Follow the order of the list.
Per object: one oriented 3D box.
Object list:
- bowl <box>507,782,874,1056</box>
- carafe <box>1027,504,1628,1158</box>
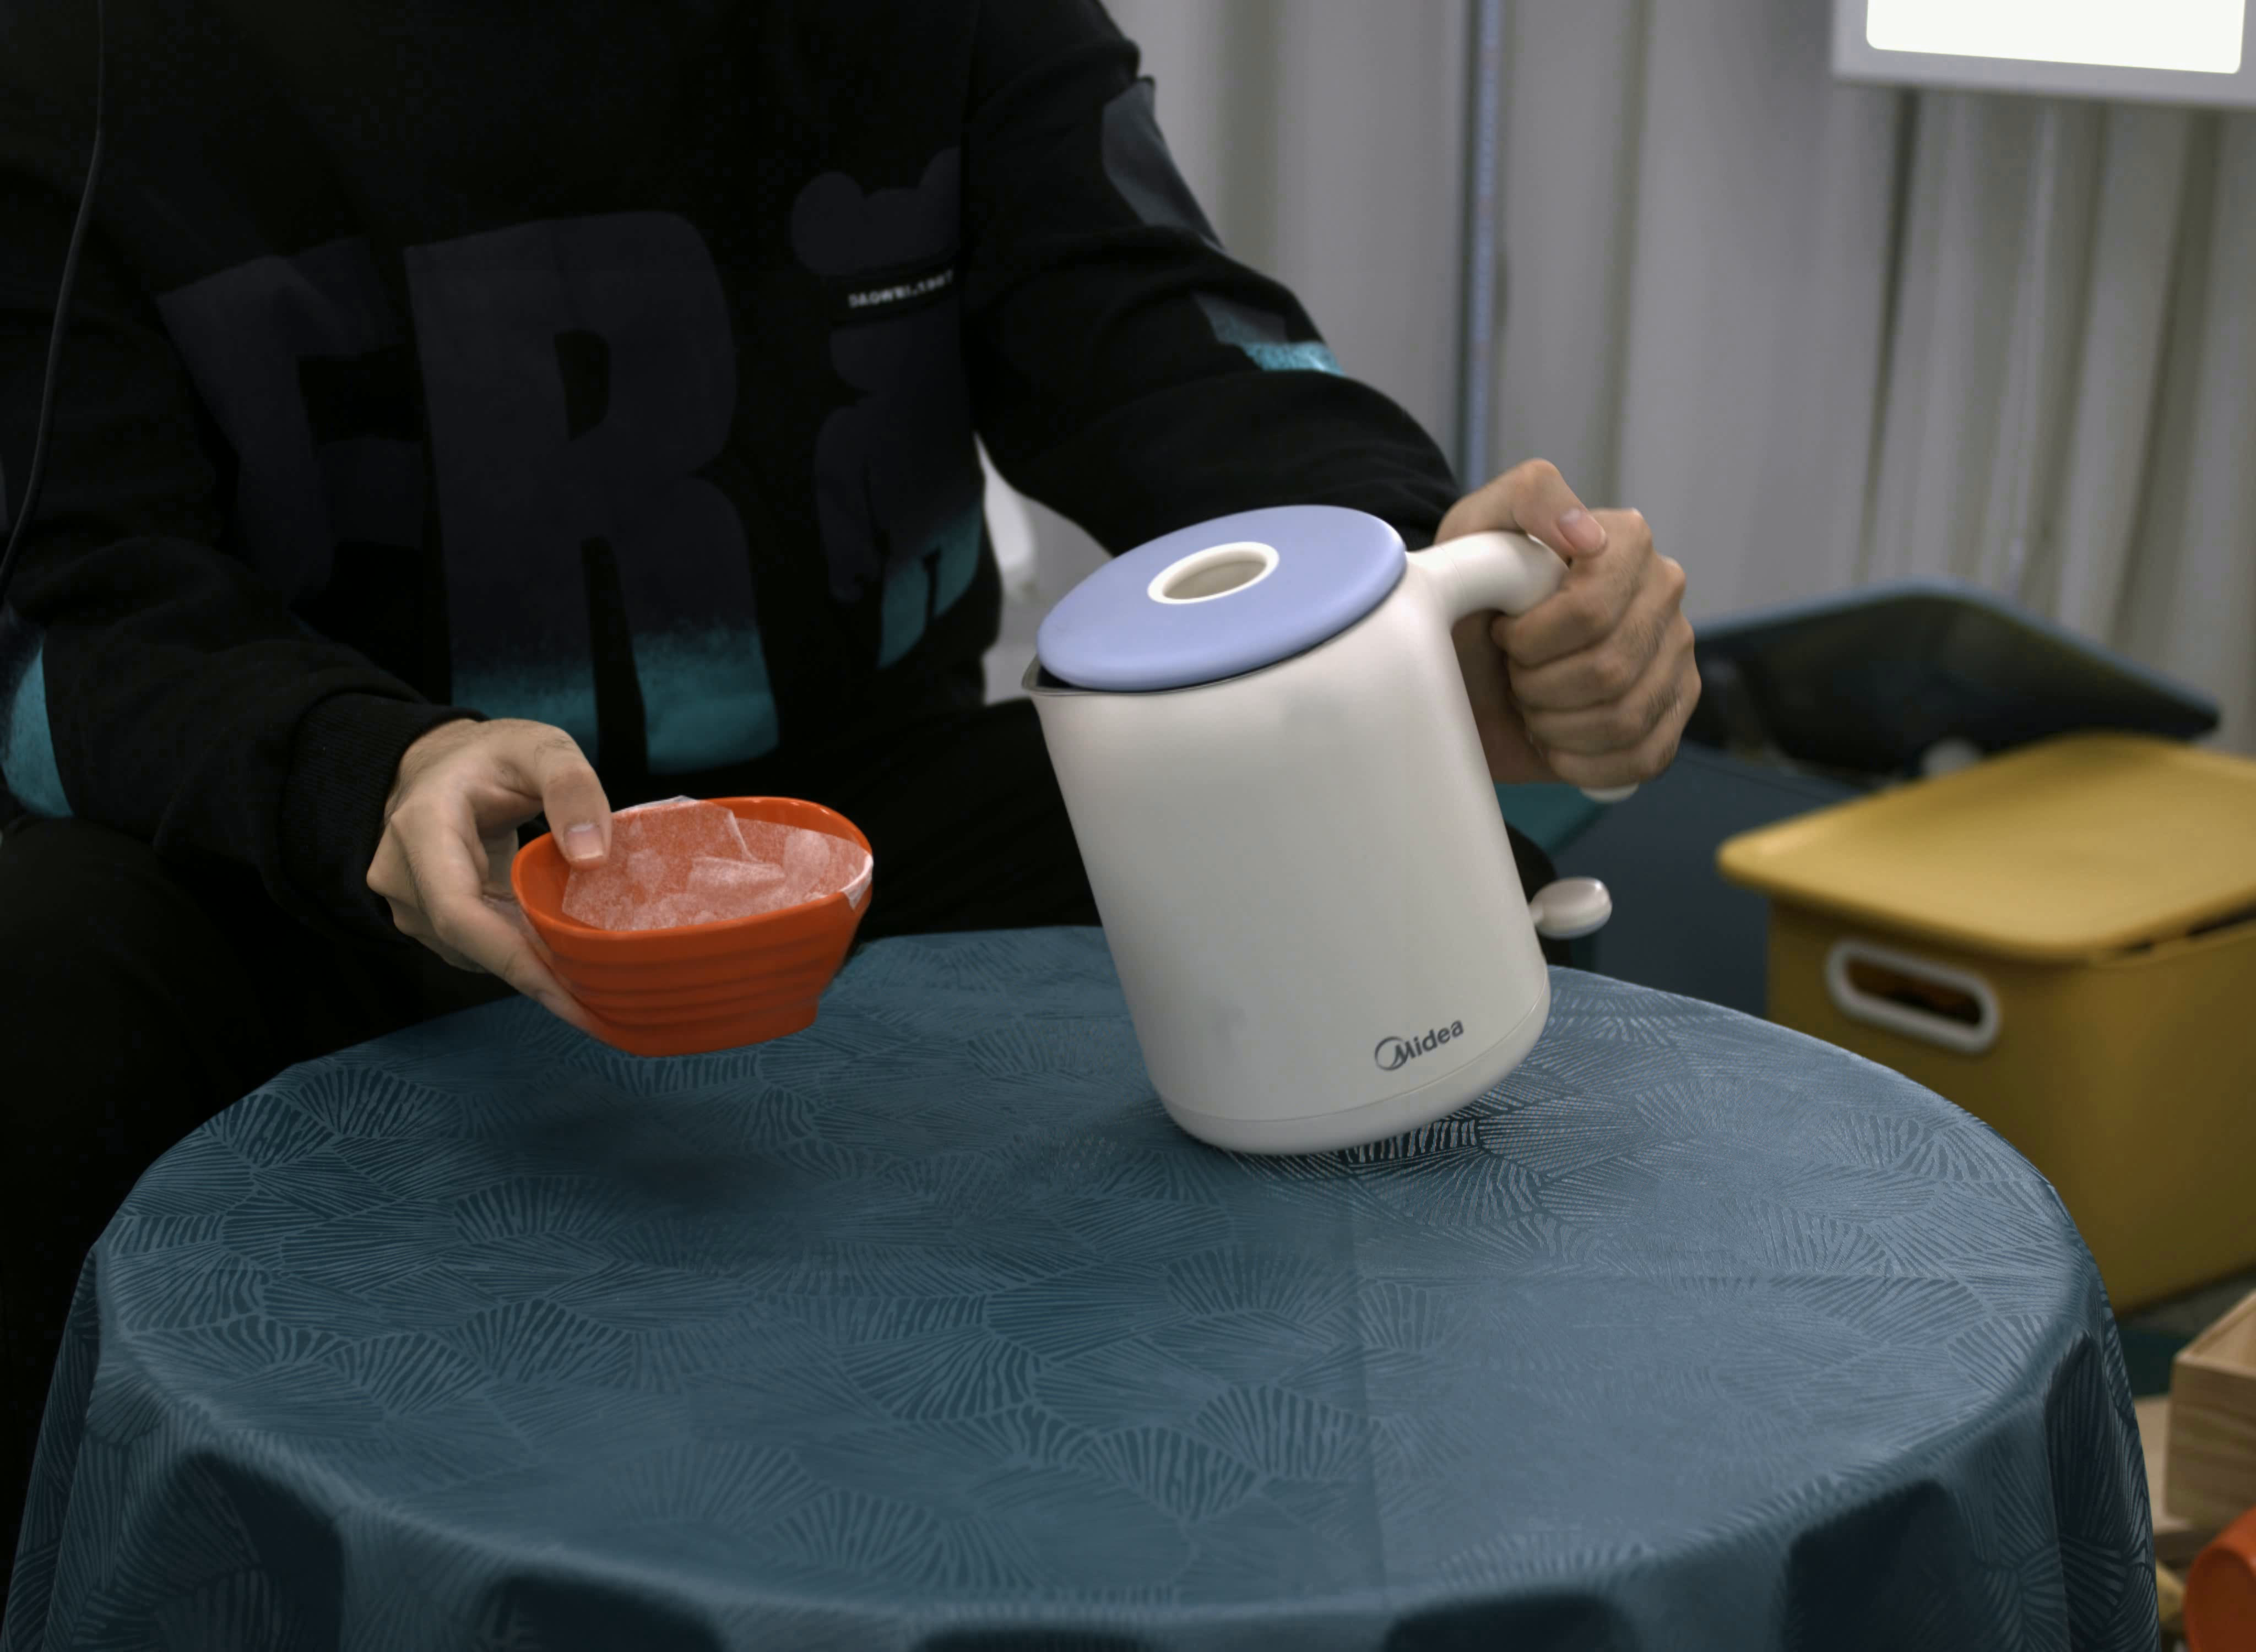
[{"bbox_3d":[-0.132,0.031,1.613,0.118,0.052,0.118,-4,24,2],"label":"bowl"},{"bbox_3d":[0.071,-0.008,1.659,0.191,0.184,0.130,-21,25,-18],"label":"carafe"}]
